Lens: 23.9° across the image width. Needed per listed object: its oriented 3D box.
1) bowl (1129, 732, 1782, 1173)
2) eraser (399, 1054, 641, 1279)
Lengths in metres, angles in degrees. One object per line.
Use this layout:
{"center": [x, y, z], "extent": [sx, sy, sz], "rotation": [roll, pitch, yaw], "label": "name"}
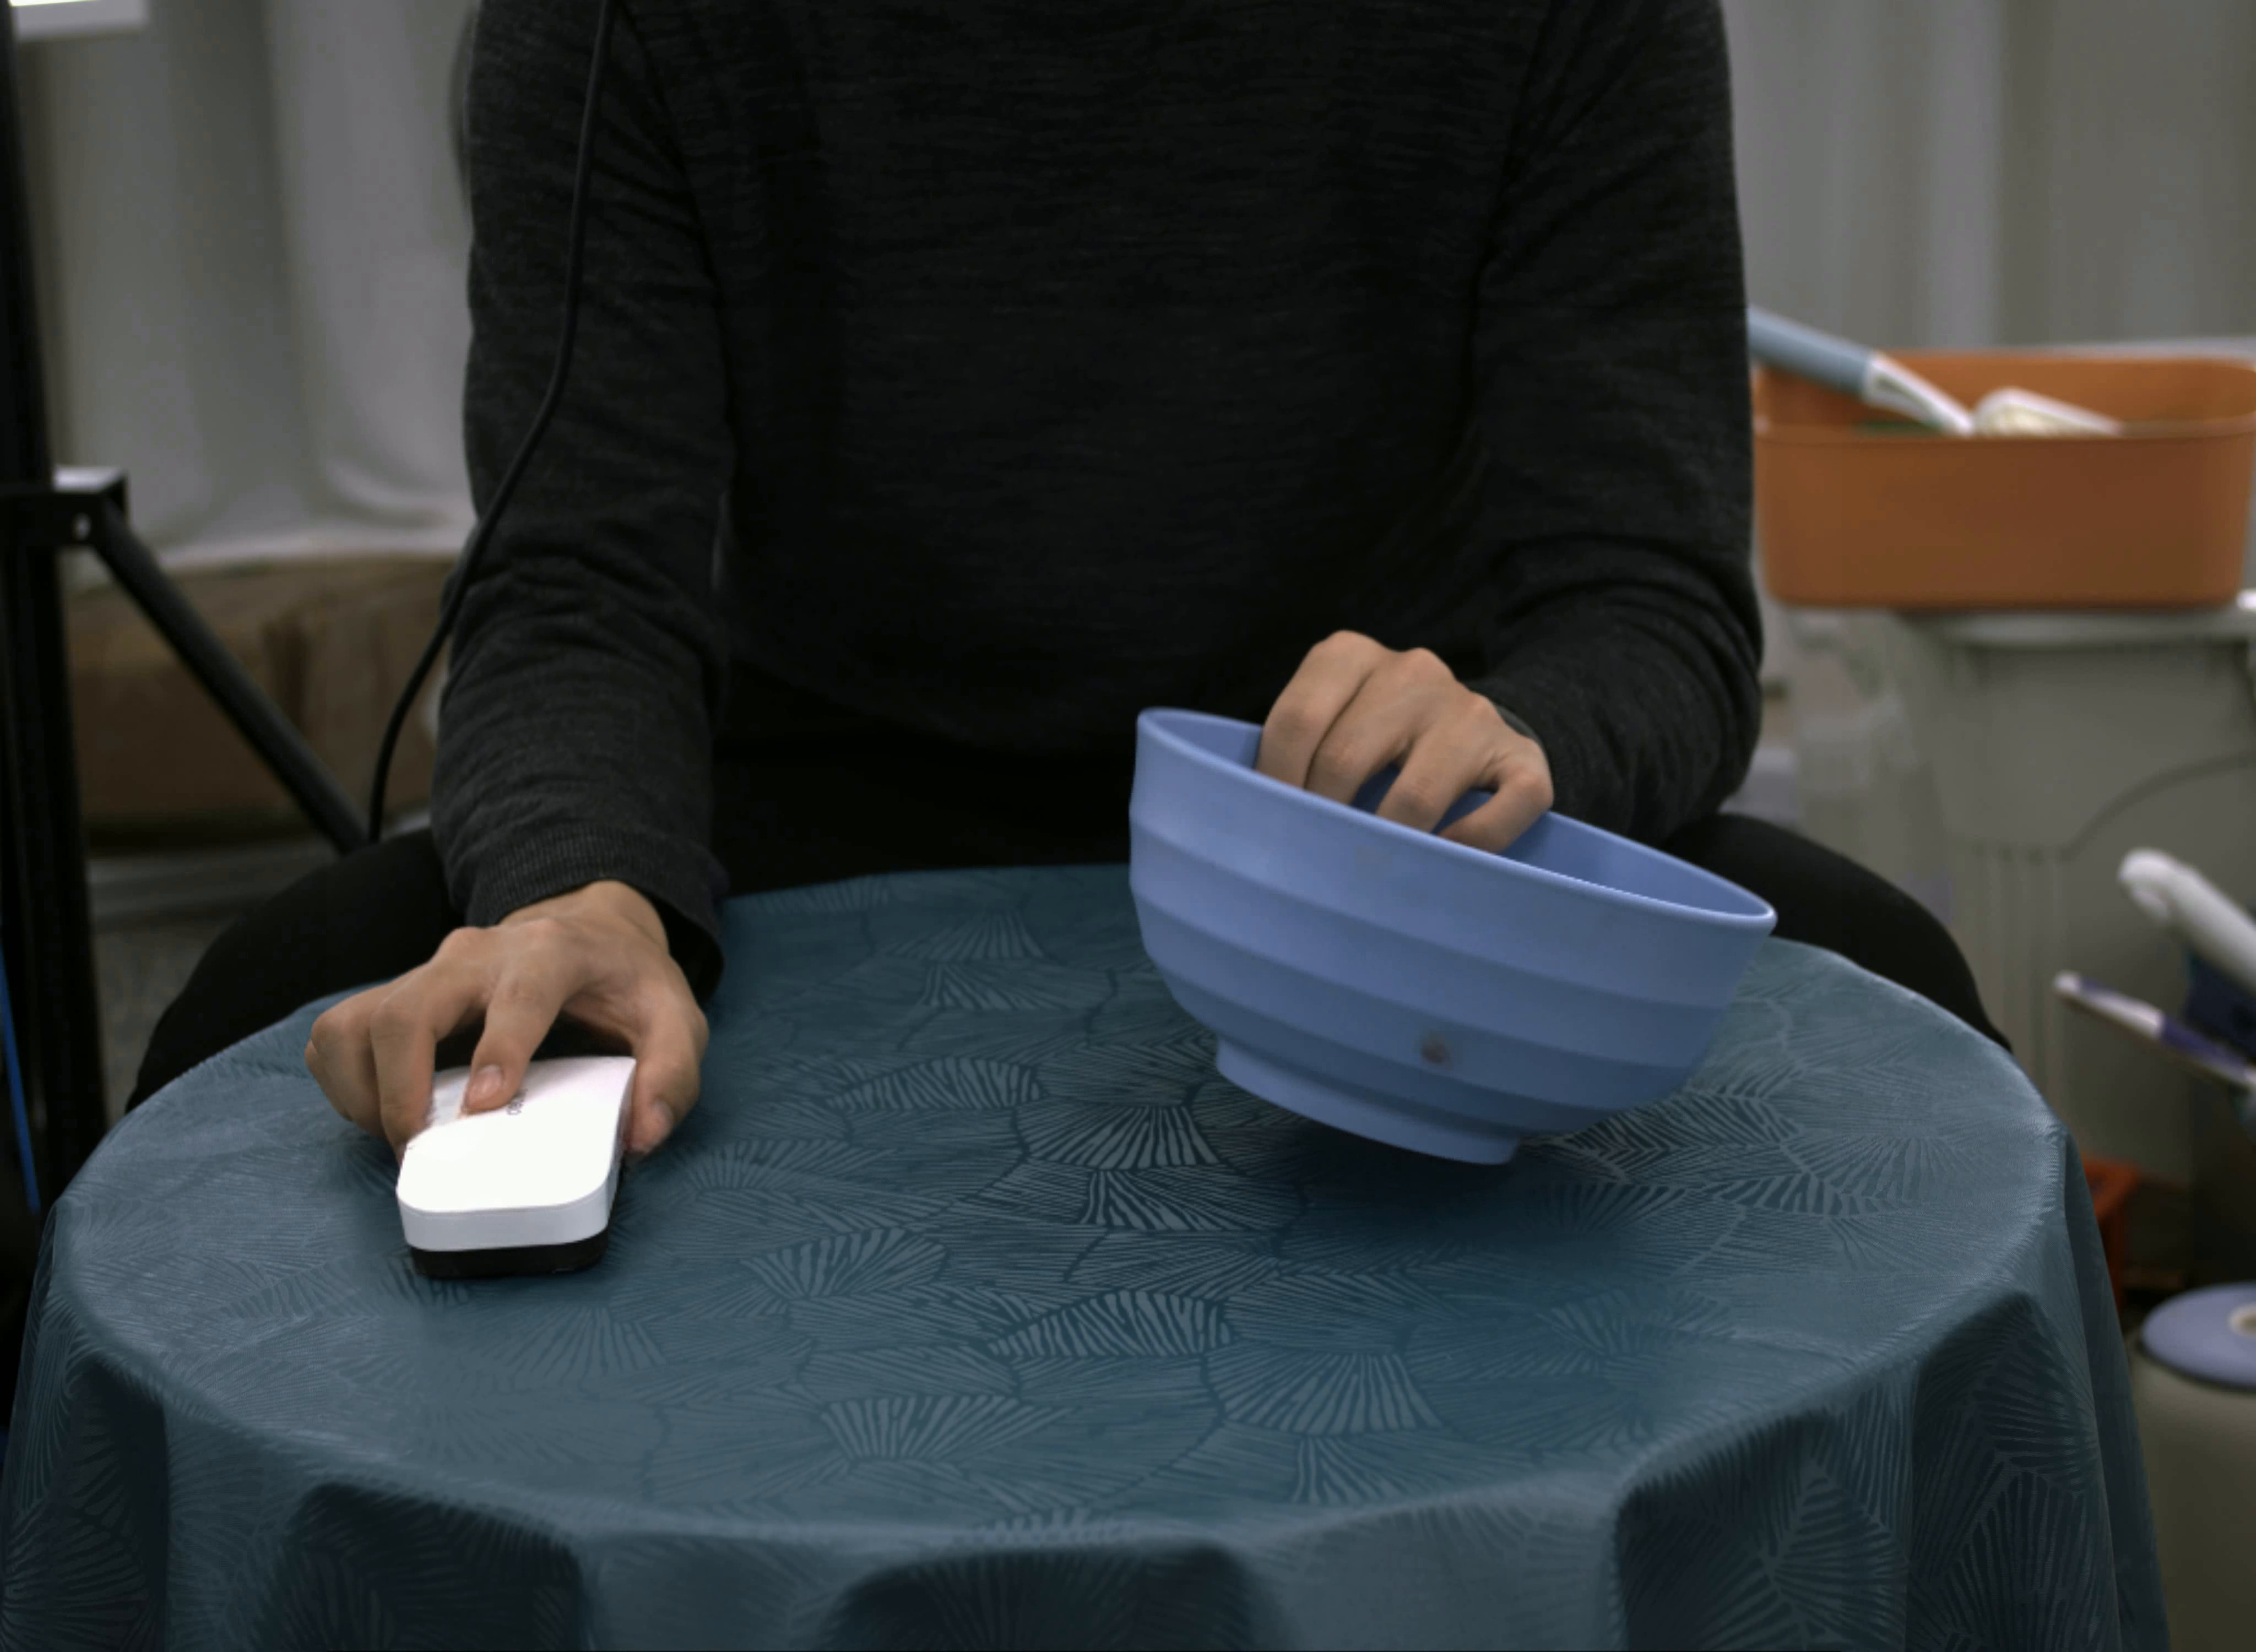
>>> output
{"center": [0.085, 0.043, 1.556], "extent": [0.195, 0.096, 0.197], "rotation": [15, 6, -3], "label": "bowl"}
{"center": [-0.176, 0.096, 1.571], "extent": [0.063, 0.034, 0.132], "rotation": [-2, 17, 2], "label": "eraser"}
